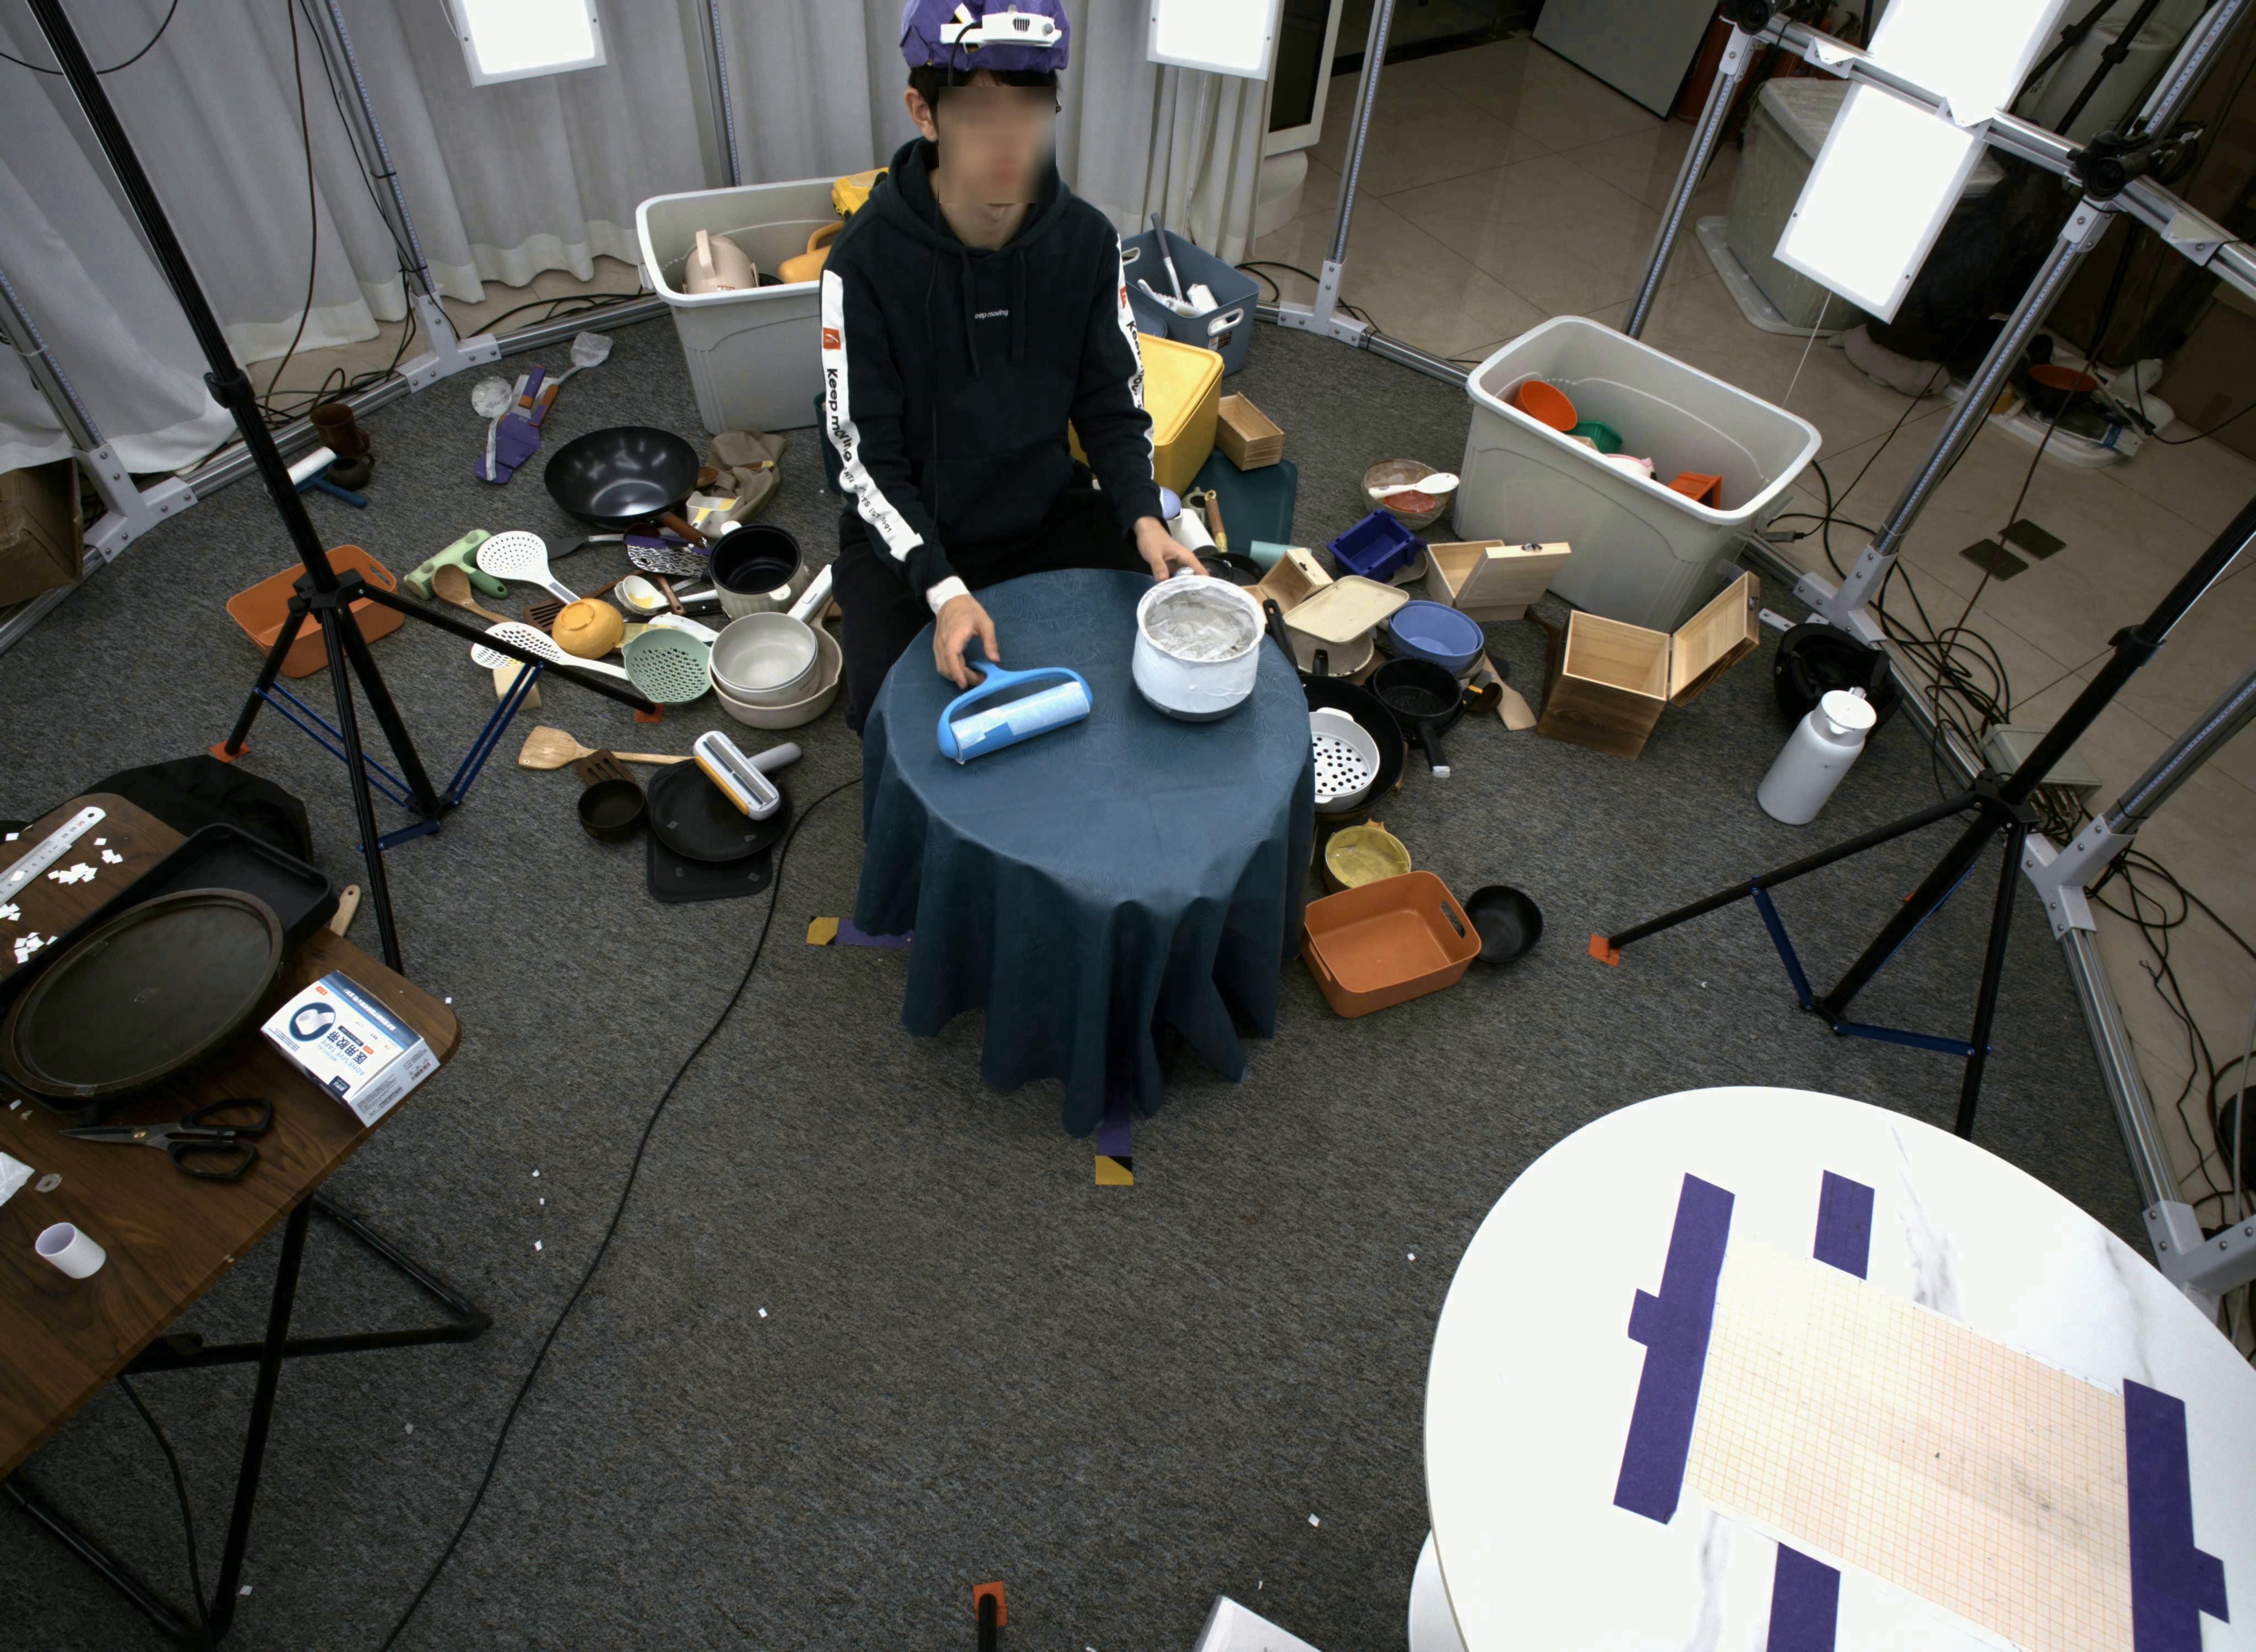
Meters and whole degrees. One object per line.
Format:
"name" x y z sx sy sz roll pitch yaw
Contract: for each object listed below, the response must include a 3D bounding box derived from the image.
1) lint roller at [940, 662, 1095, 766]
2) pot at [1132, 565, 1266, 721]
"lint roller" -0.179 -0.182 1.778 0.230 0.066 0.184 -26 56 -21
"pot" 0.091 -0.267 1.814 0.178 0.133 0.239 -6 51 -9
